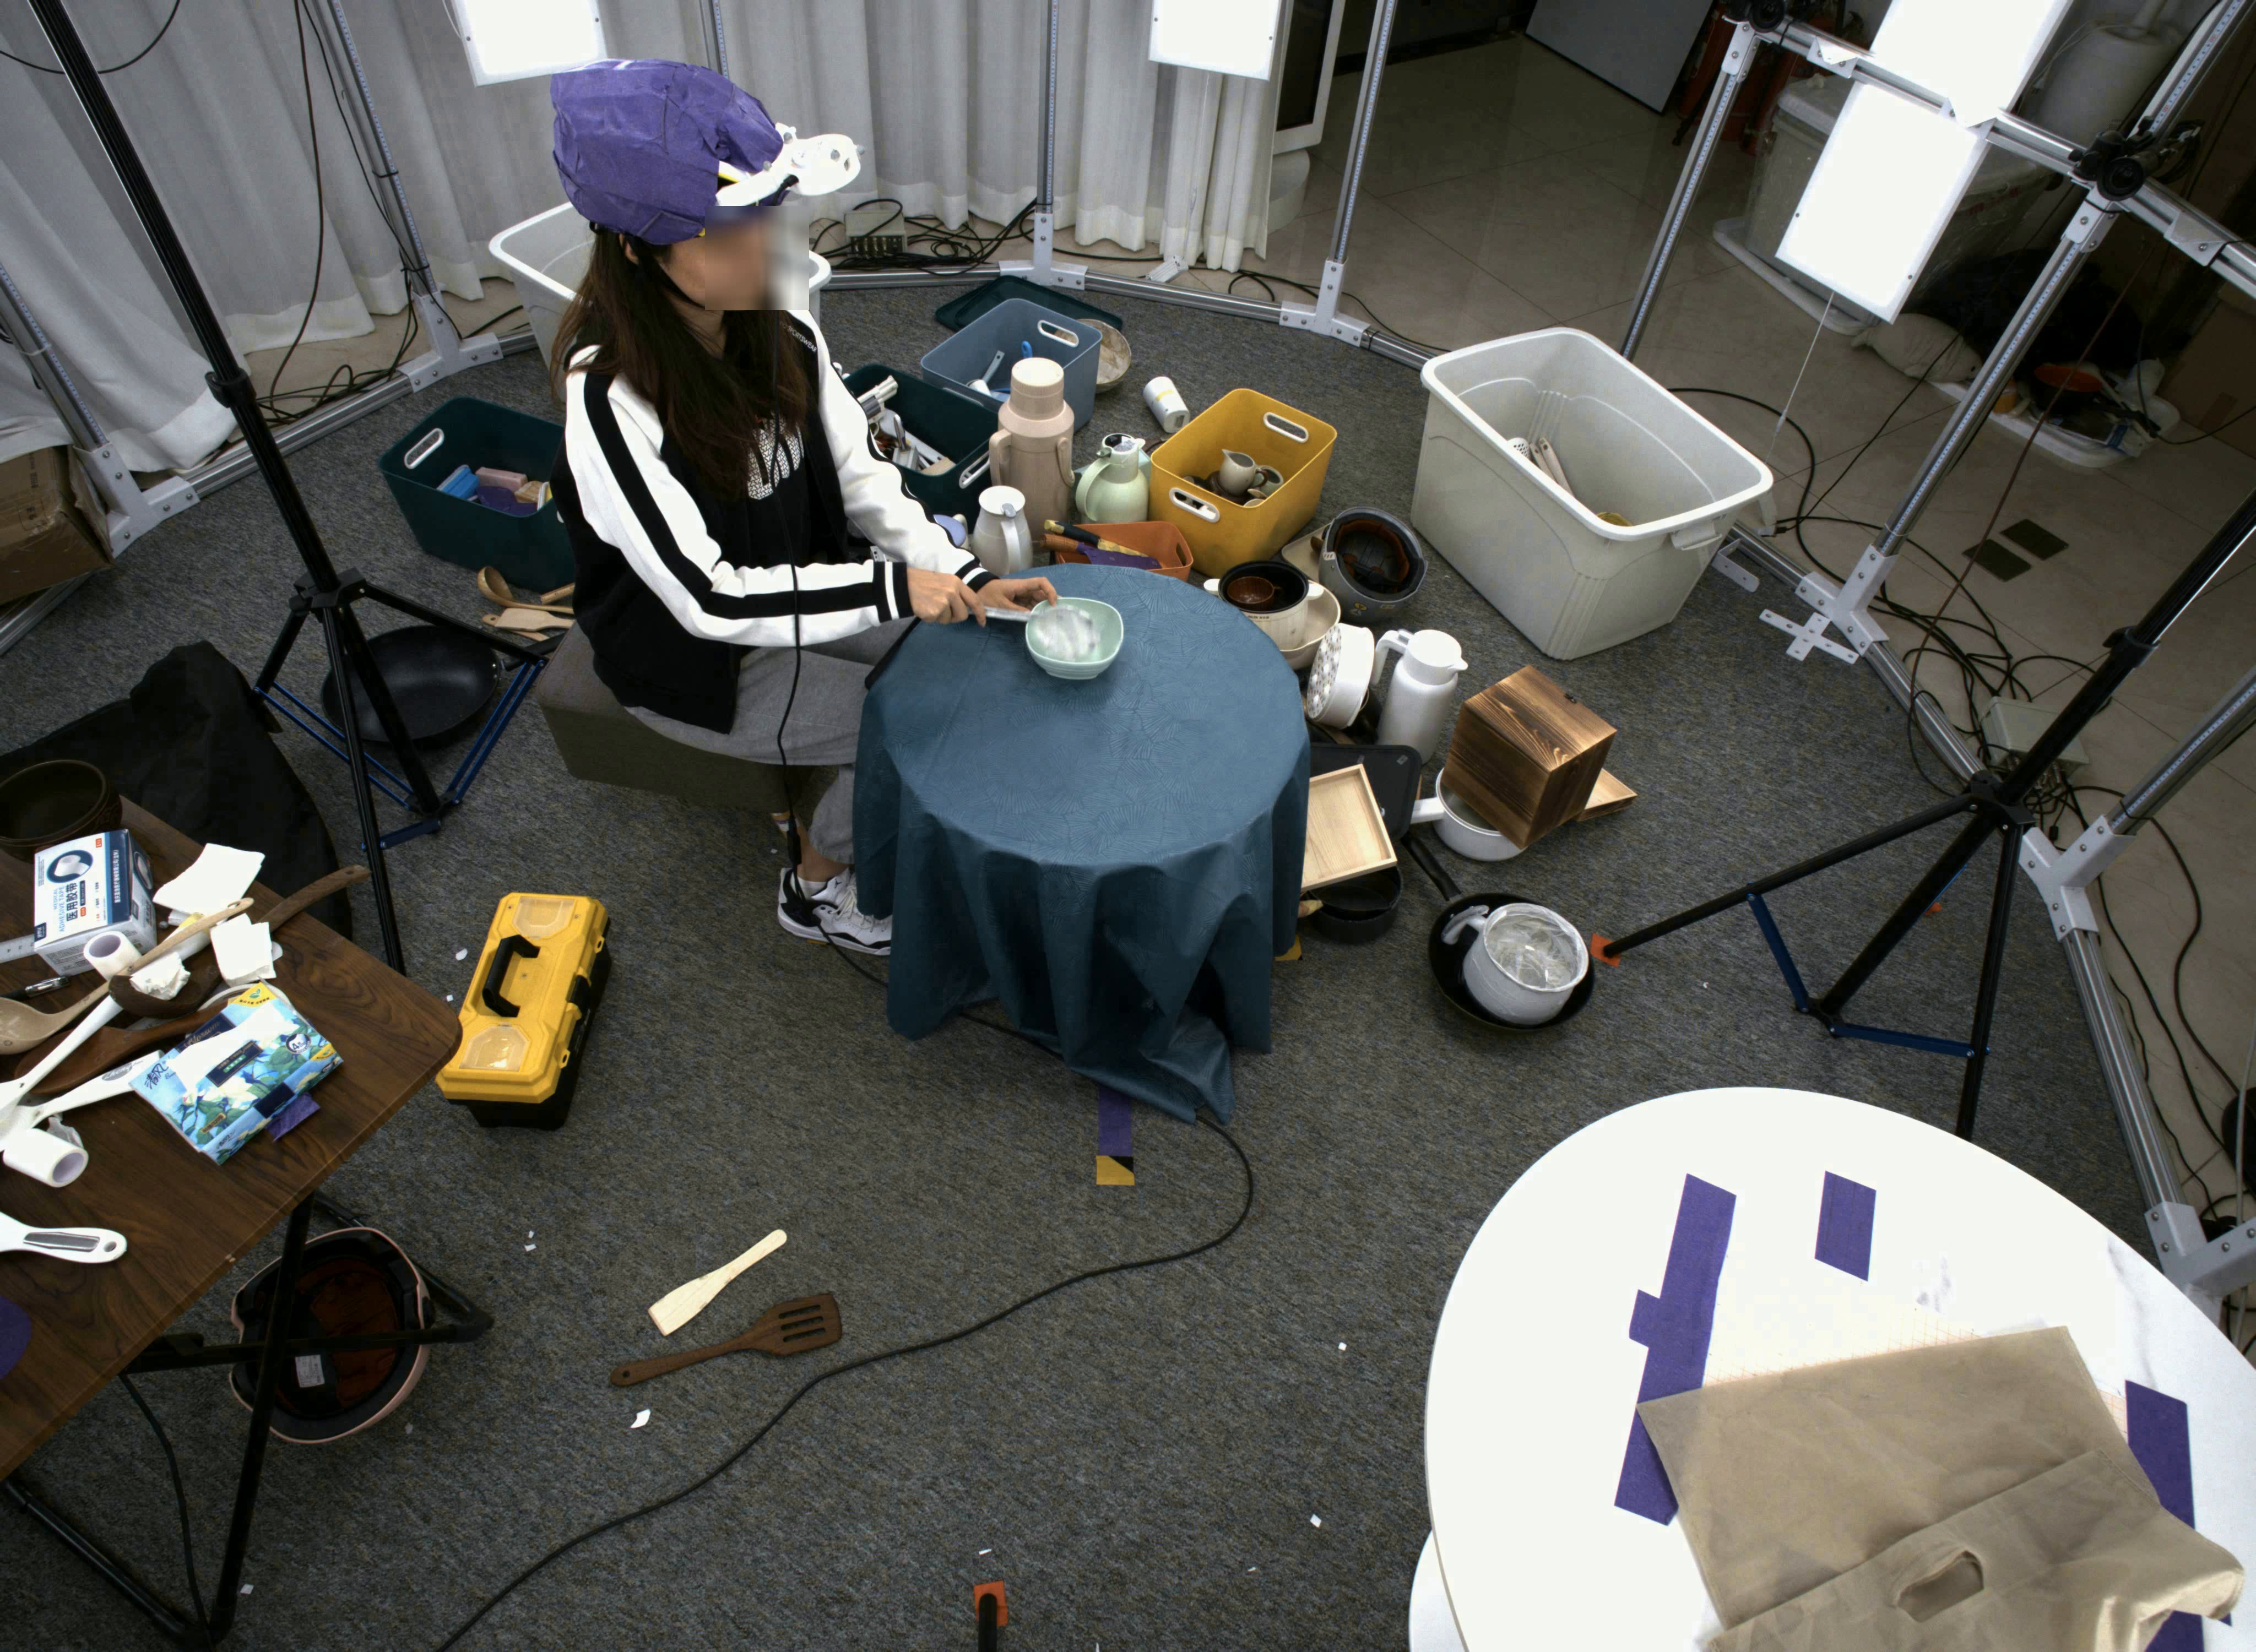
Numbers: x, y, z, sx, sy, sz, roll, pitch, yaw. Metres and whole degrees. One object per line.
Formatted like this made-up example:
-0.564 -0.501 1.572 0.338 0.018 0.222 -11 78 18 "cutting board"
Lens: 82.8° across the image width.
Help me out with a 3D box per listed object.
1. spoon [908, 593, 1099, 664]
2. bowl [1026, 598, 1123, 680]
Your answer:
-0.164 -0.274 1.749 0.275 0.099 0.061 4 48 -37 "spoon"
-0.078 -0.262 1.857 0.151 0.057 0.155 2 50 -3 "bowl"
